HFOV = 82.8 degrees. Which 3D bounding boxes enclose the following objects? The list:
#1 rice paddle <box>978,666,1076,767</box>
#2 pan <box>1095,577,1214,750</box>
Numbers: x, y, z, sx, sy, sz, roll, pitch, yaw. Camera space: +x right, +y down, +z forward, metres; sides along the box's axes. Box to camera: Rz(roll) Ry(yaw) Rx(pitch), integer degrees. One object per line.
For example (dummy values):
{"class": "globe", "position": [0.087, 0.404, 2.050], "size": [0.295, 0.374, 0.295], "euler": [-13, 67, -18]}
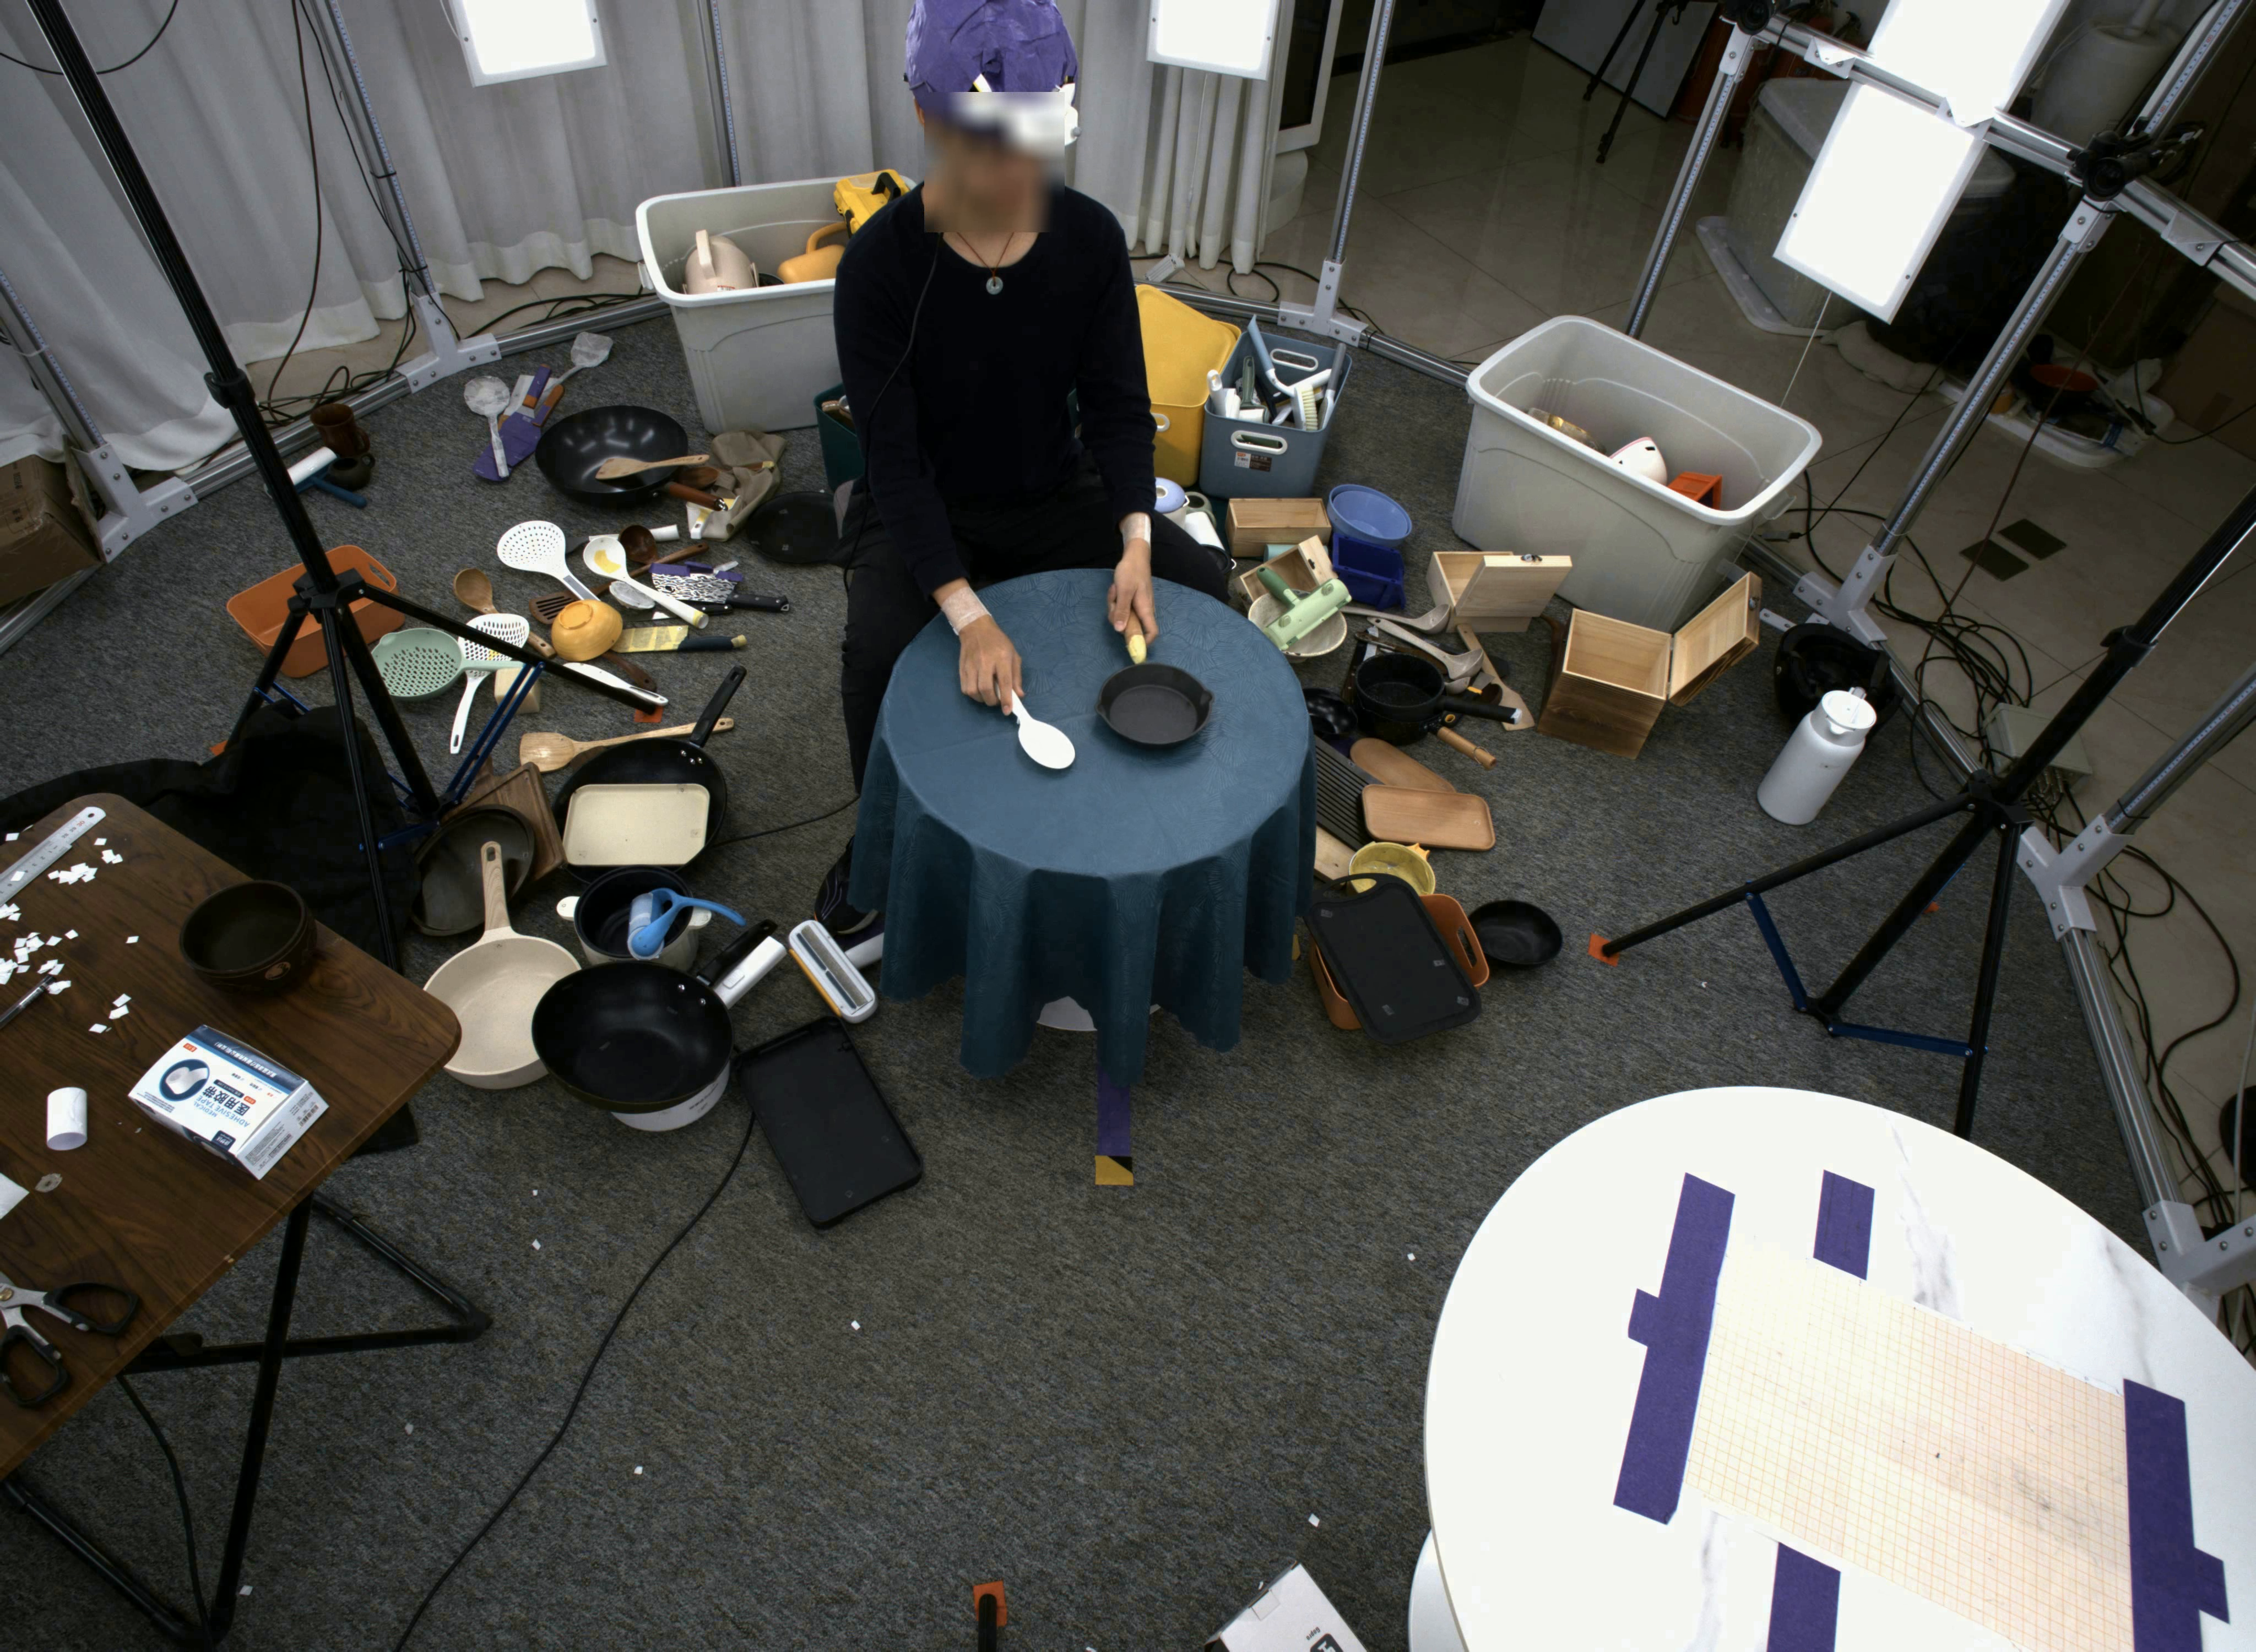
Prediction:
{"class": "rice paddle", "position": [-0.141, -0.150, 1.770], "size": [0.069, 0.029, 0.209], "euler": [-20, 53, -30]}
{"class": "pan", "position": [0.022, -0.233, 1.839], "size": [0.169, 0.048, 0.332], "euler": [-6, 51, -8]}
